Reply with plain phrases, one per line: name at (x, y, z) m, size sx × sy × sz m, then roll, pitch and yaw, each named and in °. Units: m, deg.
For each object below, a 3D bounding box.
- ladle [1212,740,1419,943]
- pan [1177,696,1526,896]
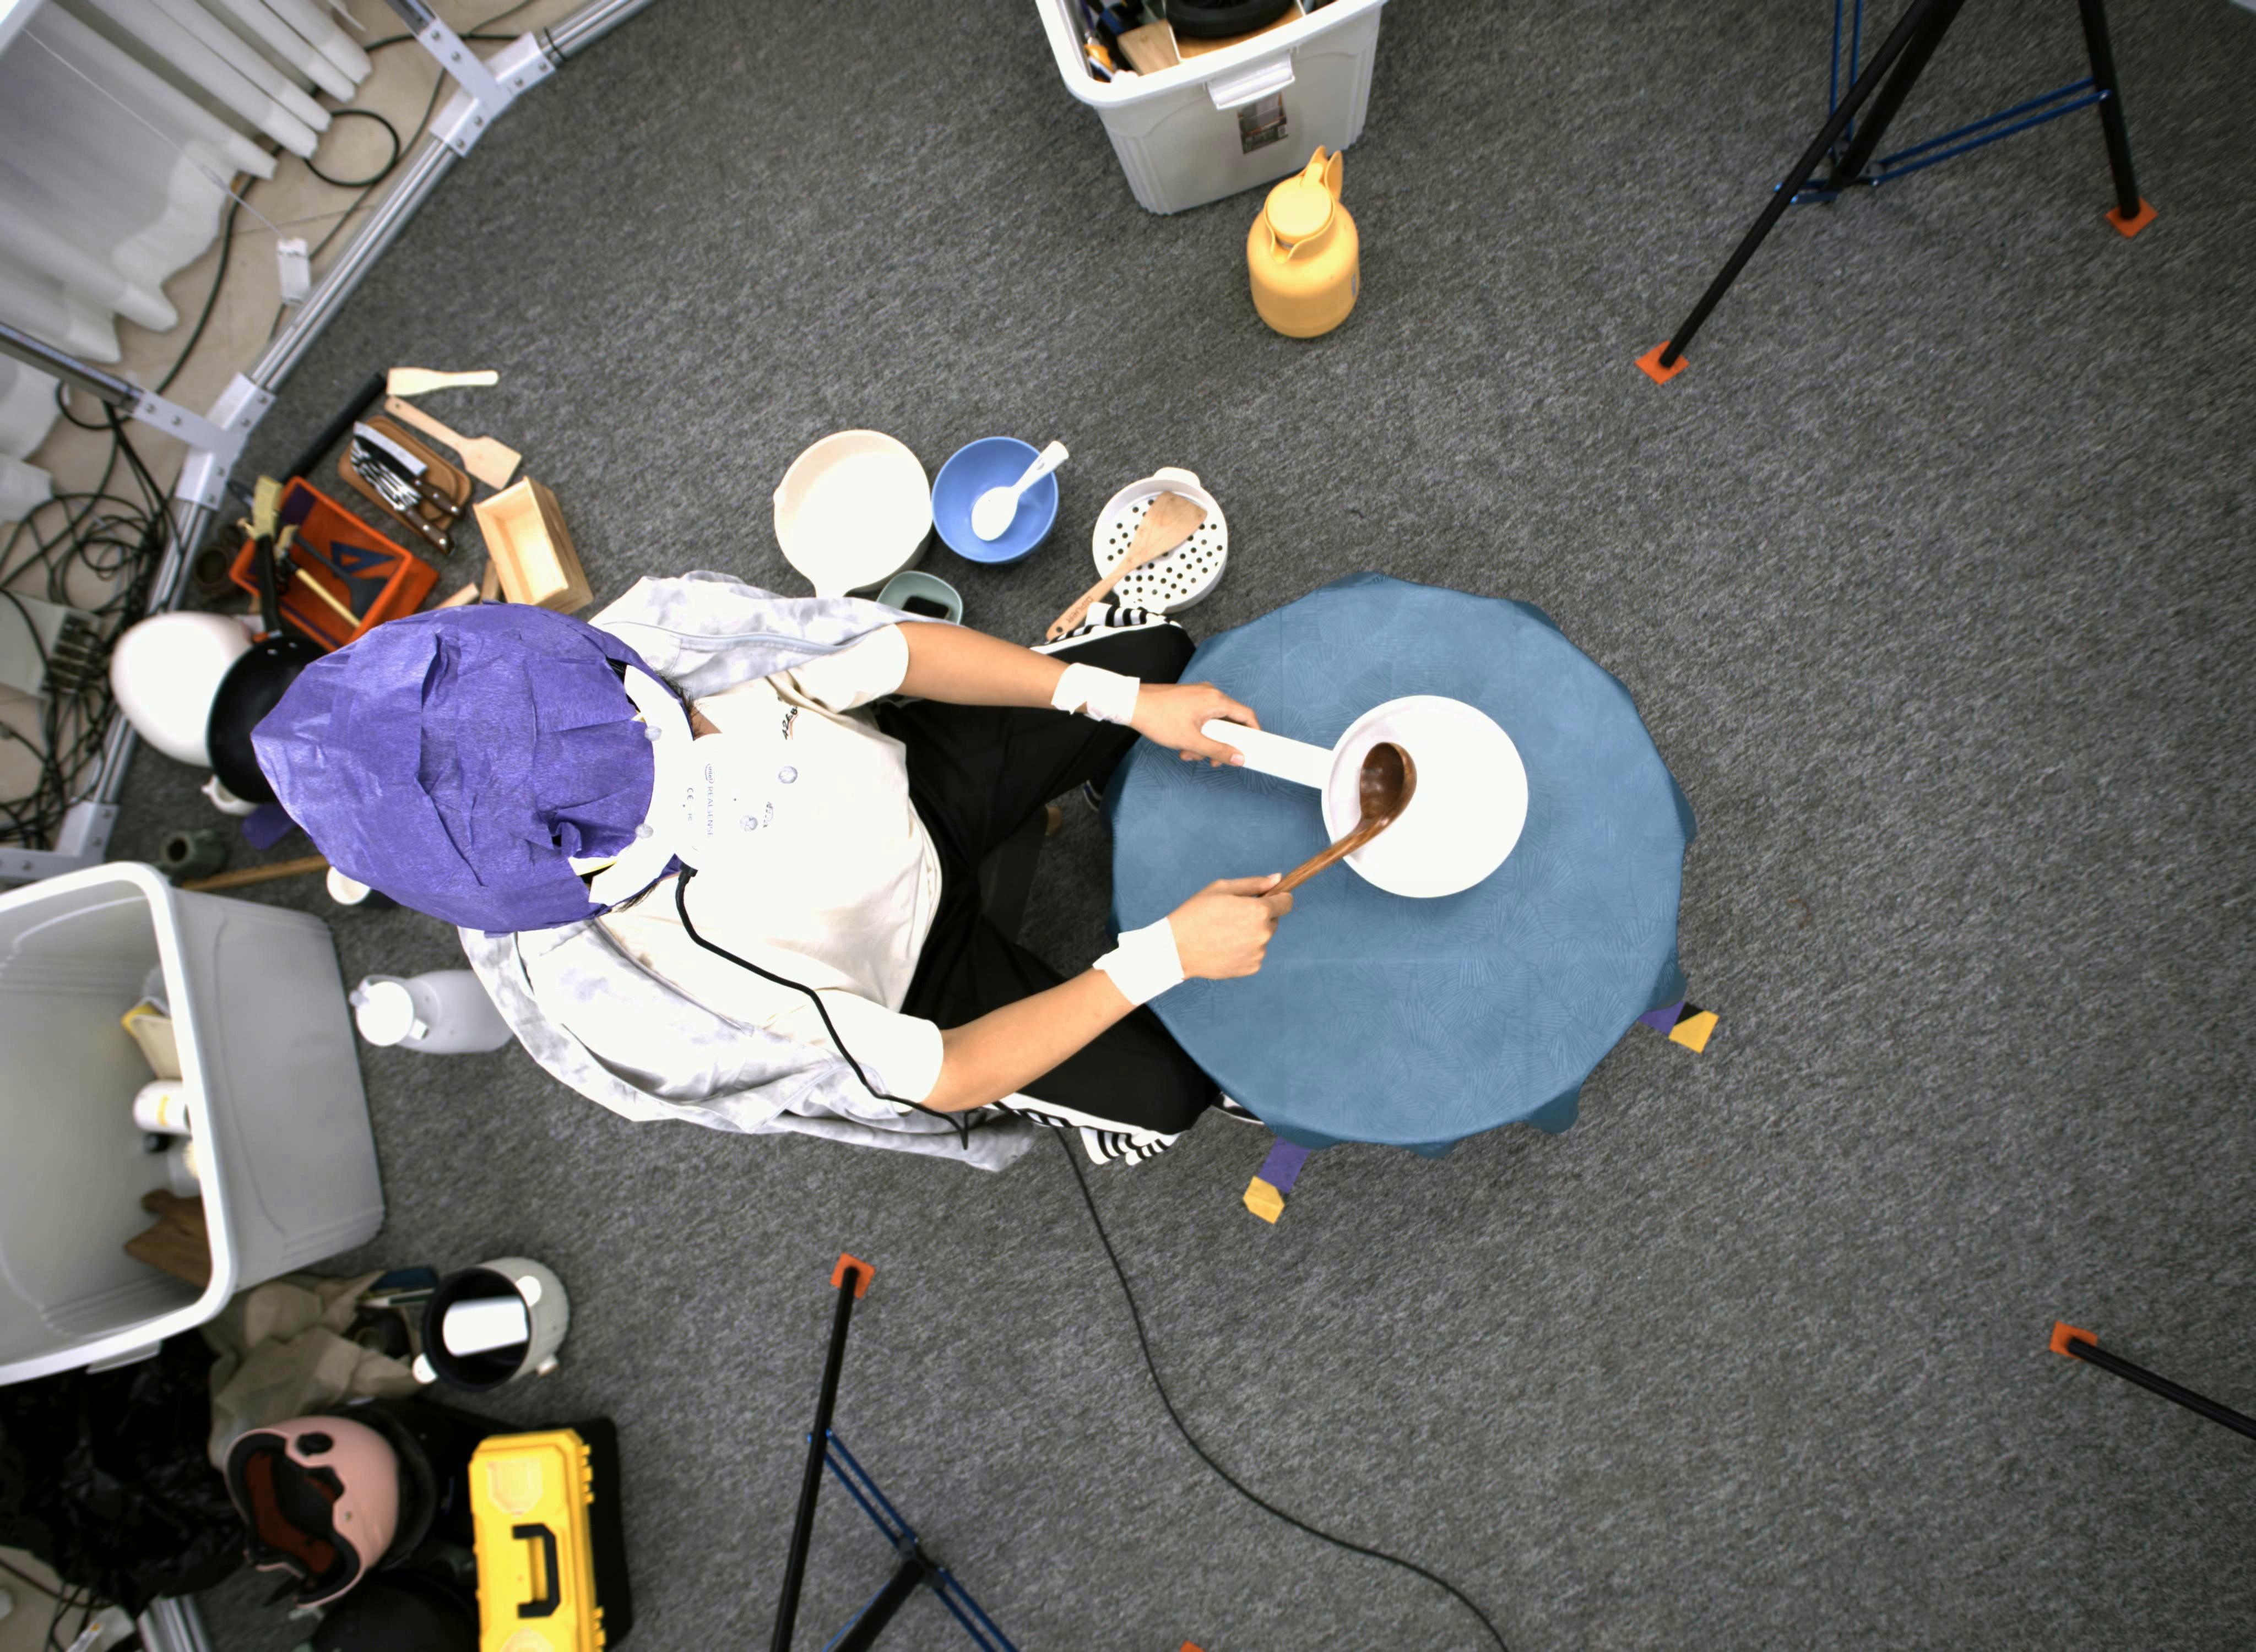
ladle at (0.176, 0.009, 1.336) m, size 0.271 × 0.083 × 0.076 m, roll -32°, pitch 90°, yaw -17°
pan at (0.227, -0.049, 1.423) m, size 0.355 × 0.102 × 0.201 m, roll 17°, pitch 90°, yaw 12°
